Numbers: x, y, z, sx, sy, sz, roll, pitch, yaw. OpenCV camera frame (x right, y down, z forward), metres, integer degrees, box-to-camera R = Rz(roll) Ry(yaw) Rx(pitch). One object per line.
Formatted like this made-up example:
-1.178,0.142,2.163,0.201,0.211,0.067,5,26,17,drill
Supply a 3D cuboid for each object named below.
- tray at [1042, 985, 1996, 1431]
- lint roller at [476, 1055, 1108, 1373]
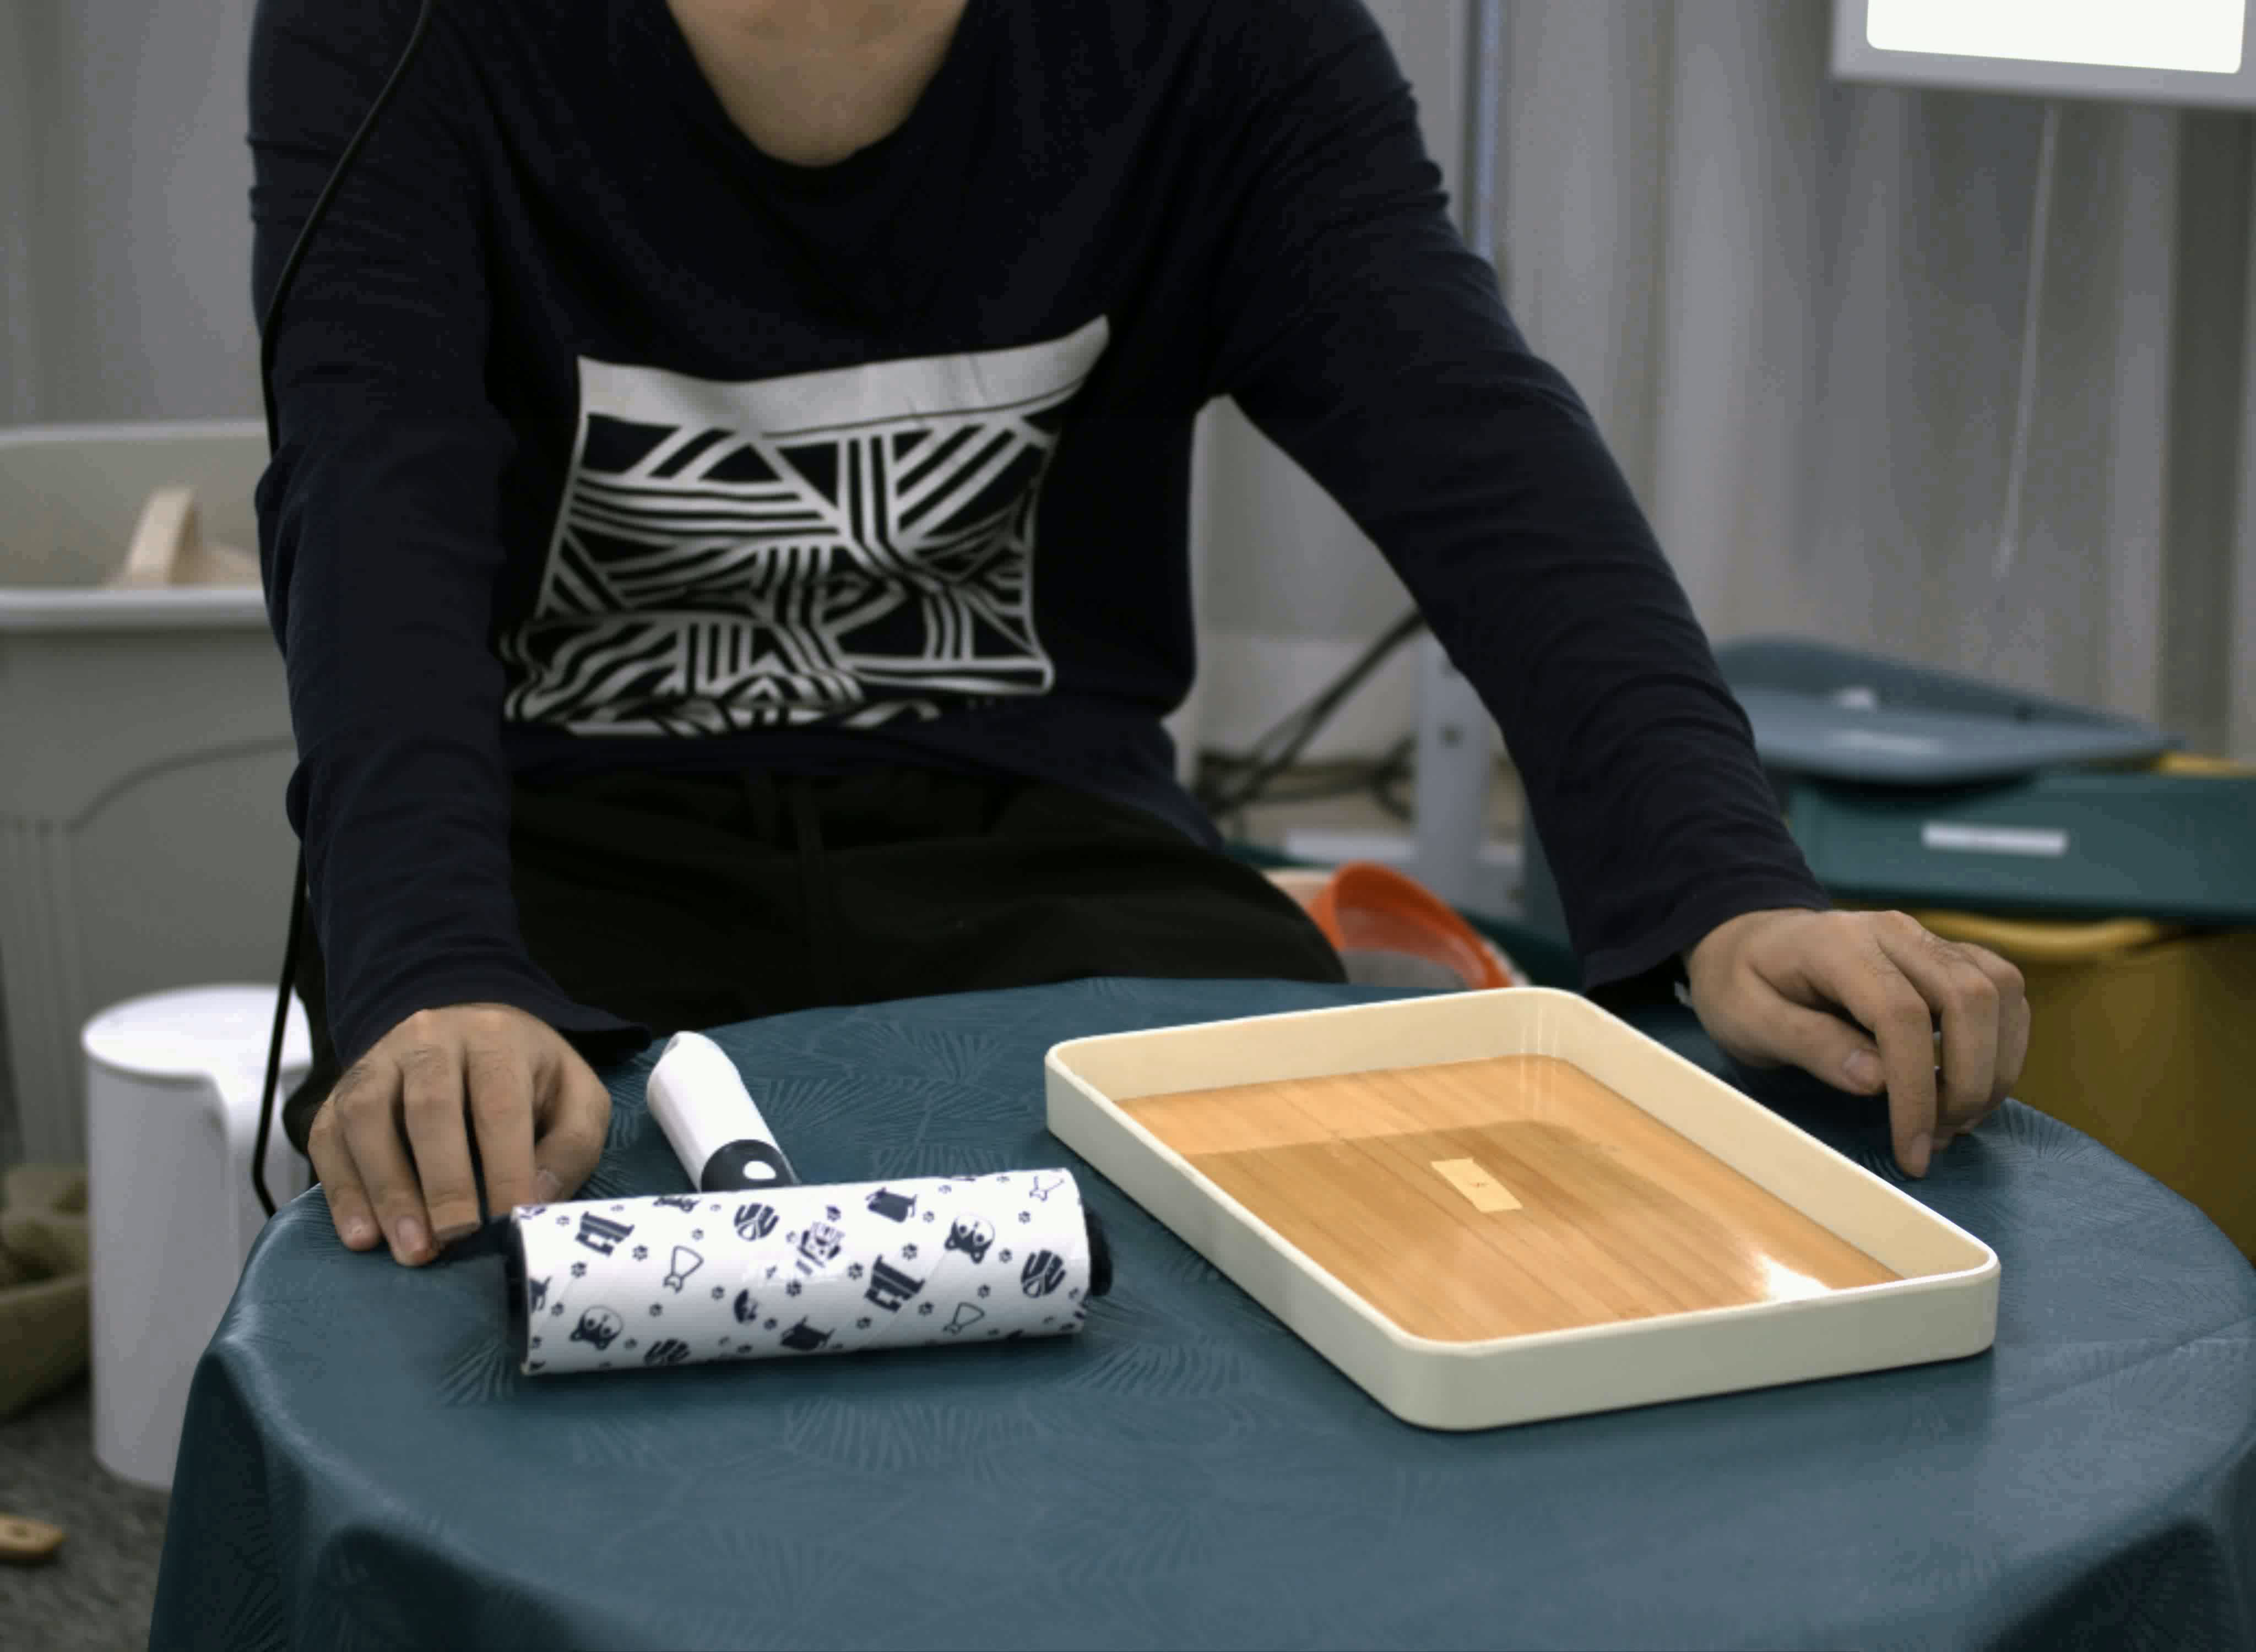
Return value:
0.109,0.109,1.589,0.192,0.027,0.297,-6,16,-21,tray
-0.119,0.102,1.579,0.176,0.051,0.245,-4,14,-14,lint roller
